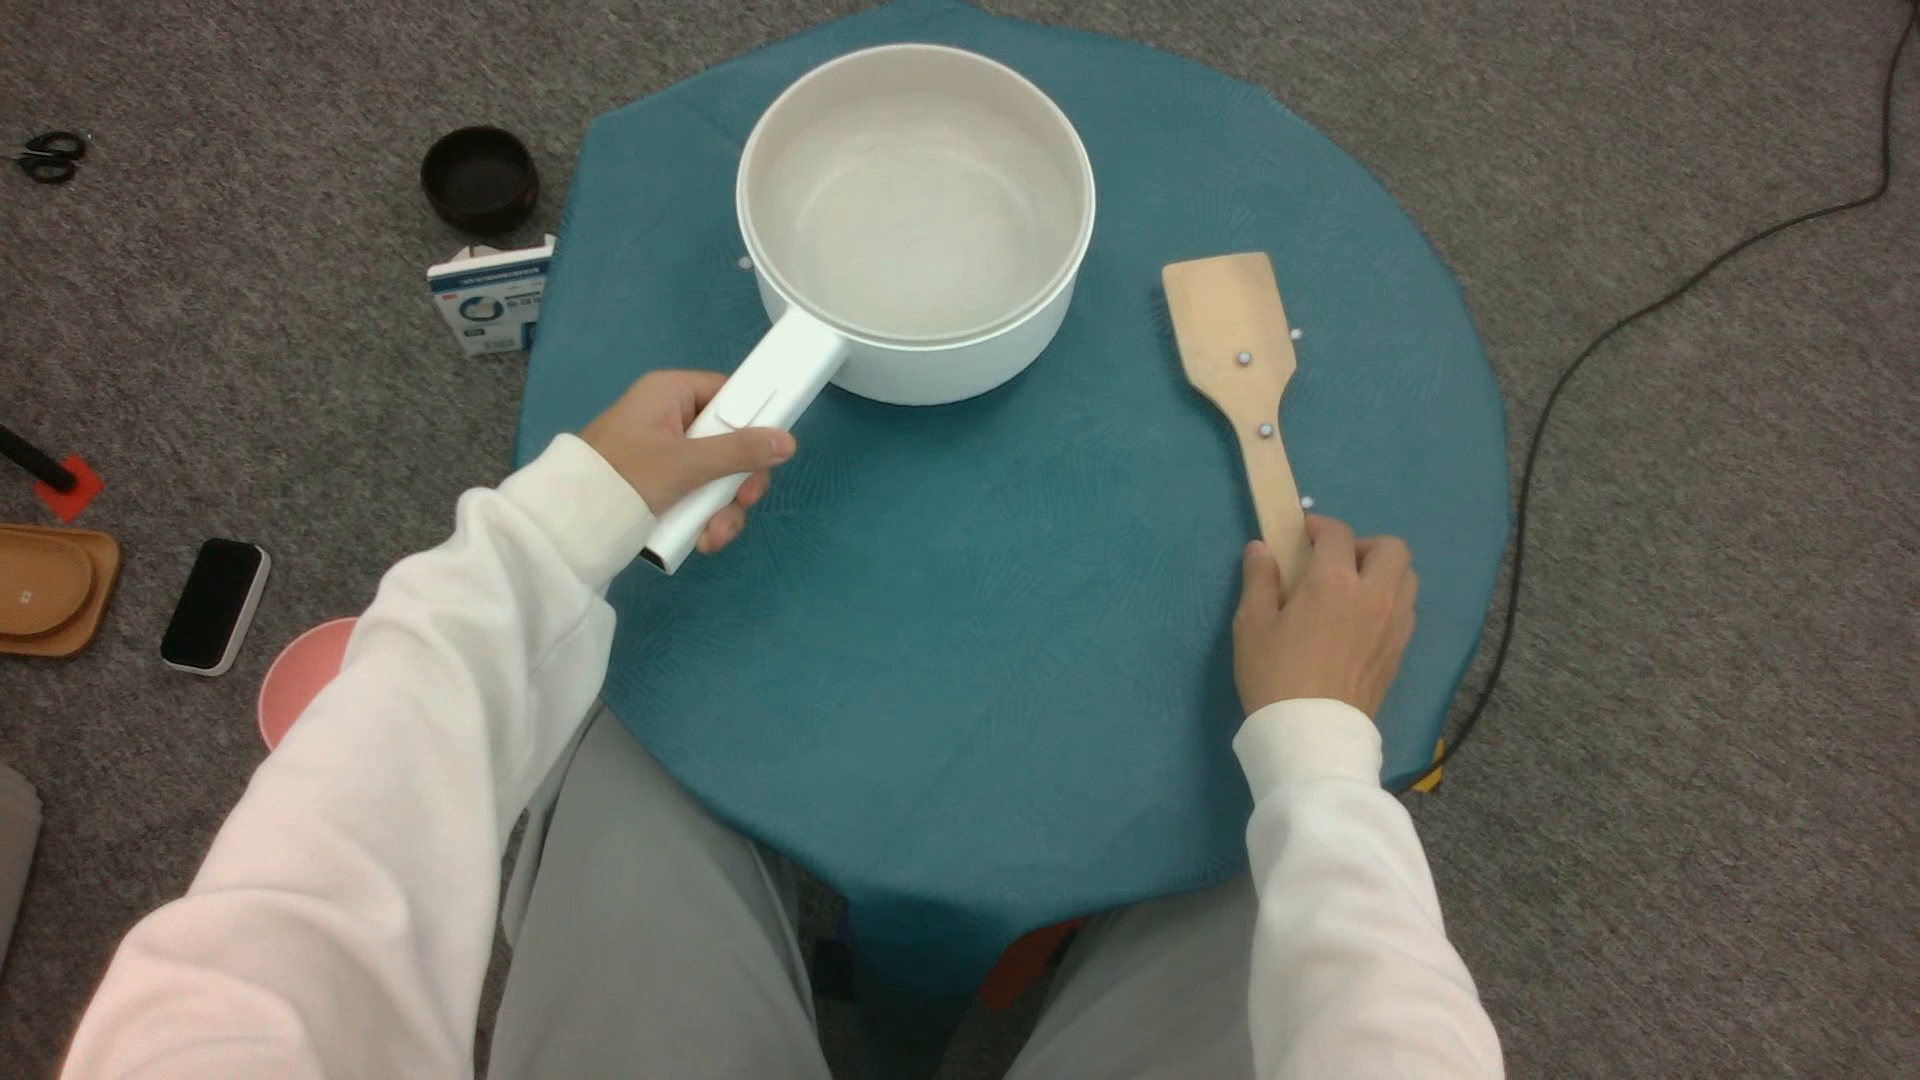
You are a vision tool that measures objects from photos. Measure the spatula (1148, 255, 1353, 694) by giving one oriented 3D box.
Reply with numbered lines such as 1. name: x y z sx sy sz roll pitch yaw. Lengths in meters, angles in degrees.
1. spatula: 0.182 -0.046 0.829 0.072 0.010 0.294 -11 67 -4

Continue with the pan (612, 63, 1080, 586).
1. pan: -0.071 -0.114 0.803 0.201 0.102 0.356 29 70 10
